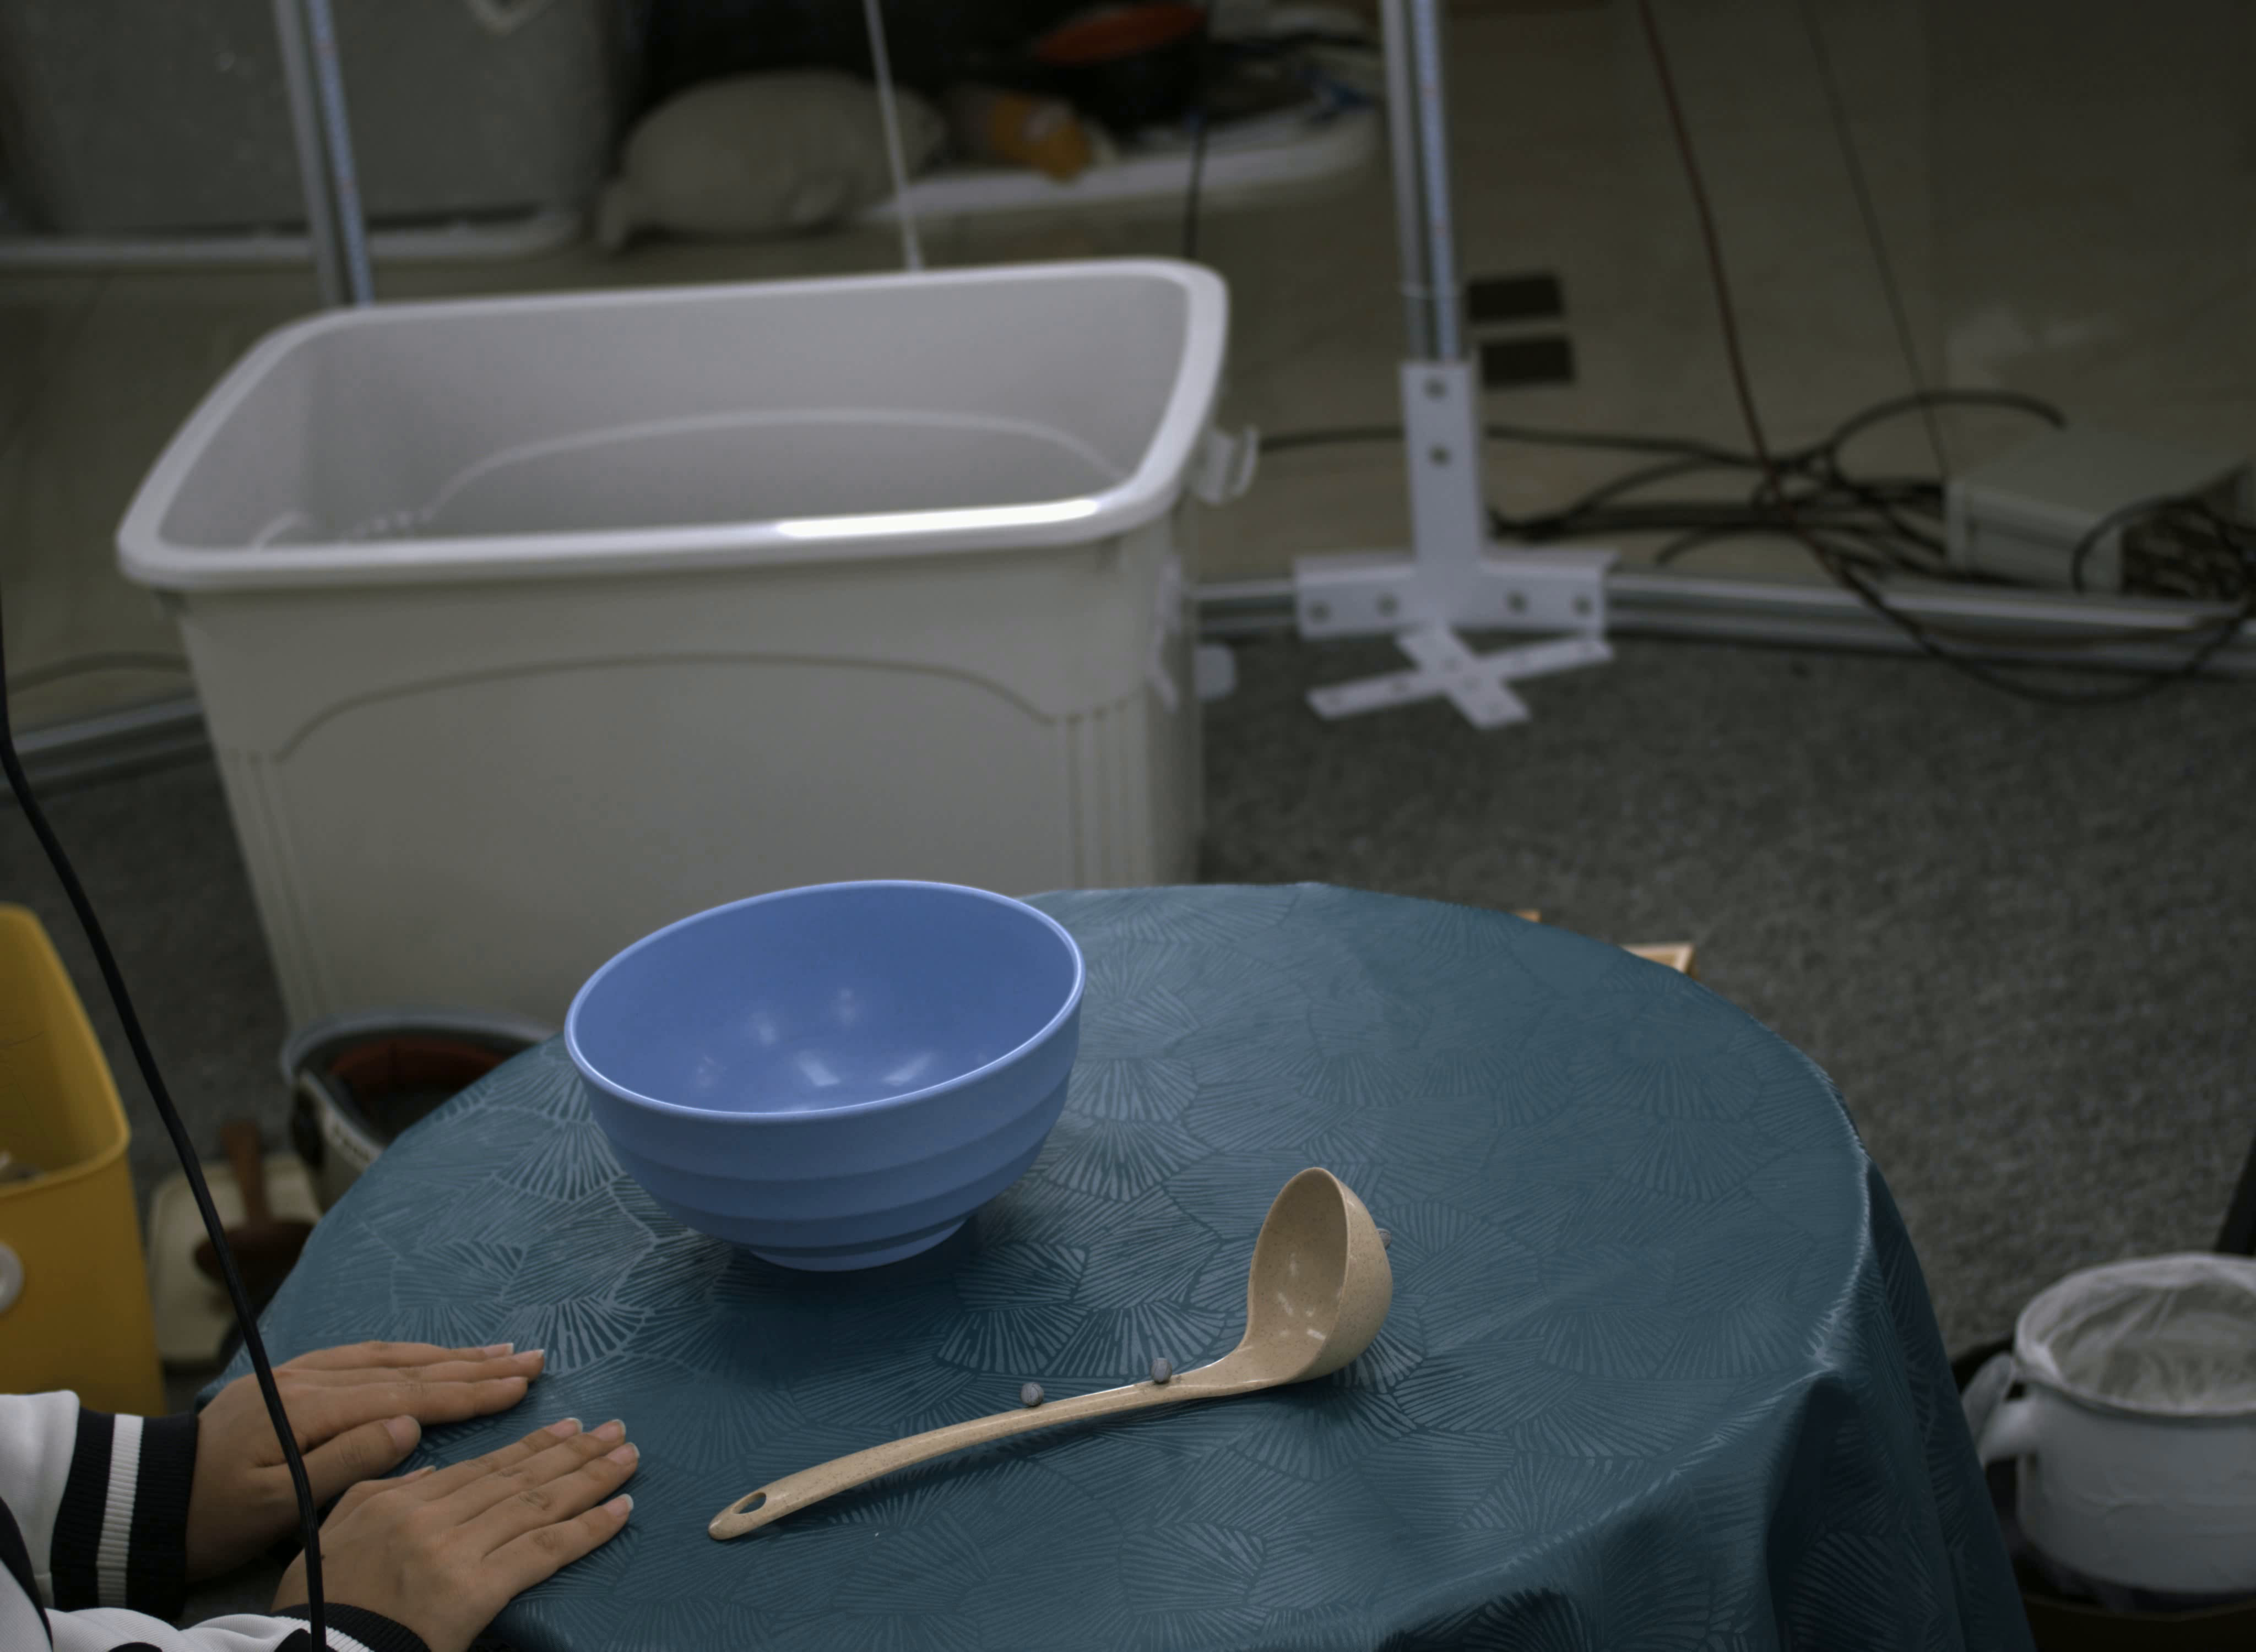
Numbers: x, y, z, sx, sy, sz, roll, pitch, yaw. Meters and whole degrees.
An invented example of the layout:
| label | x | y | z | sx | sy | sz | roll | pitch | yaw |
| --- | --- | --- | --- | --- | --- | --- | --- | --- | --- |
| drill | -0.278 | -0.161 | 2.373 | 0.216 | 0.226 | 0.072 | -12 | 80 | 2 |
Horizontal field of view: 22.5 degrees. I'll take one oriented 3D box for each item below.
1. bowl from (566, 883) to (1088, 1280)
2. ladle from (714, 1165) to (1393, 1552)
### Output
| label | x | y | z | sx | sy | sz | roll | pitch | yaw |
| --- | --- | --- | --- | --- | --- | --- | --- | --- | --- |
| bowl | -0.108 | 0.108 | 2.137 | 0.196 | 0.097 | 0.193 | -5 | 27 | 2 |
| ladle | -0.029 | 0.183 | 1.974 | 0.253 | 0.074 | 0.071 | -15 | 26 | -18 |
